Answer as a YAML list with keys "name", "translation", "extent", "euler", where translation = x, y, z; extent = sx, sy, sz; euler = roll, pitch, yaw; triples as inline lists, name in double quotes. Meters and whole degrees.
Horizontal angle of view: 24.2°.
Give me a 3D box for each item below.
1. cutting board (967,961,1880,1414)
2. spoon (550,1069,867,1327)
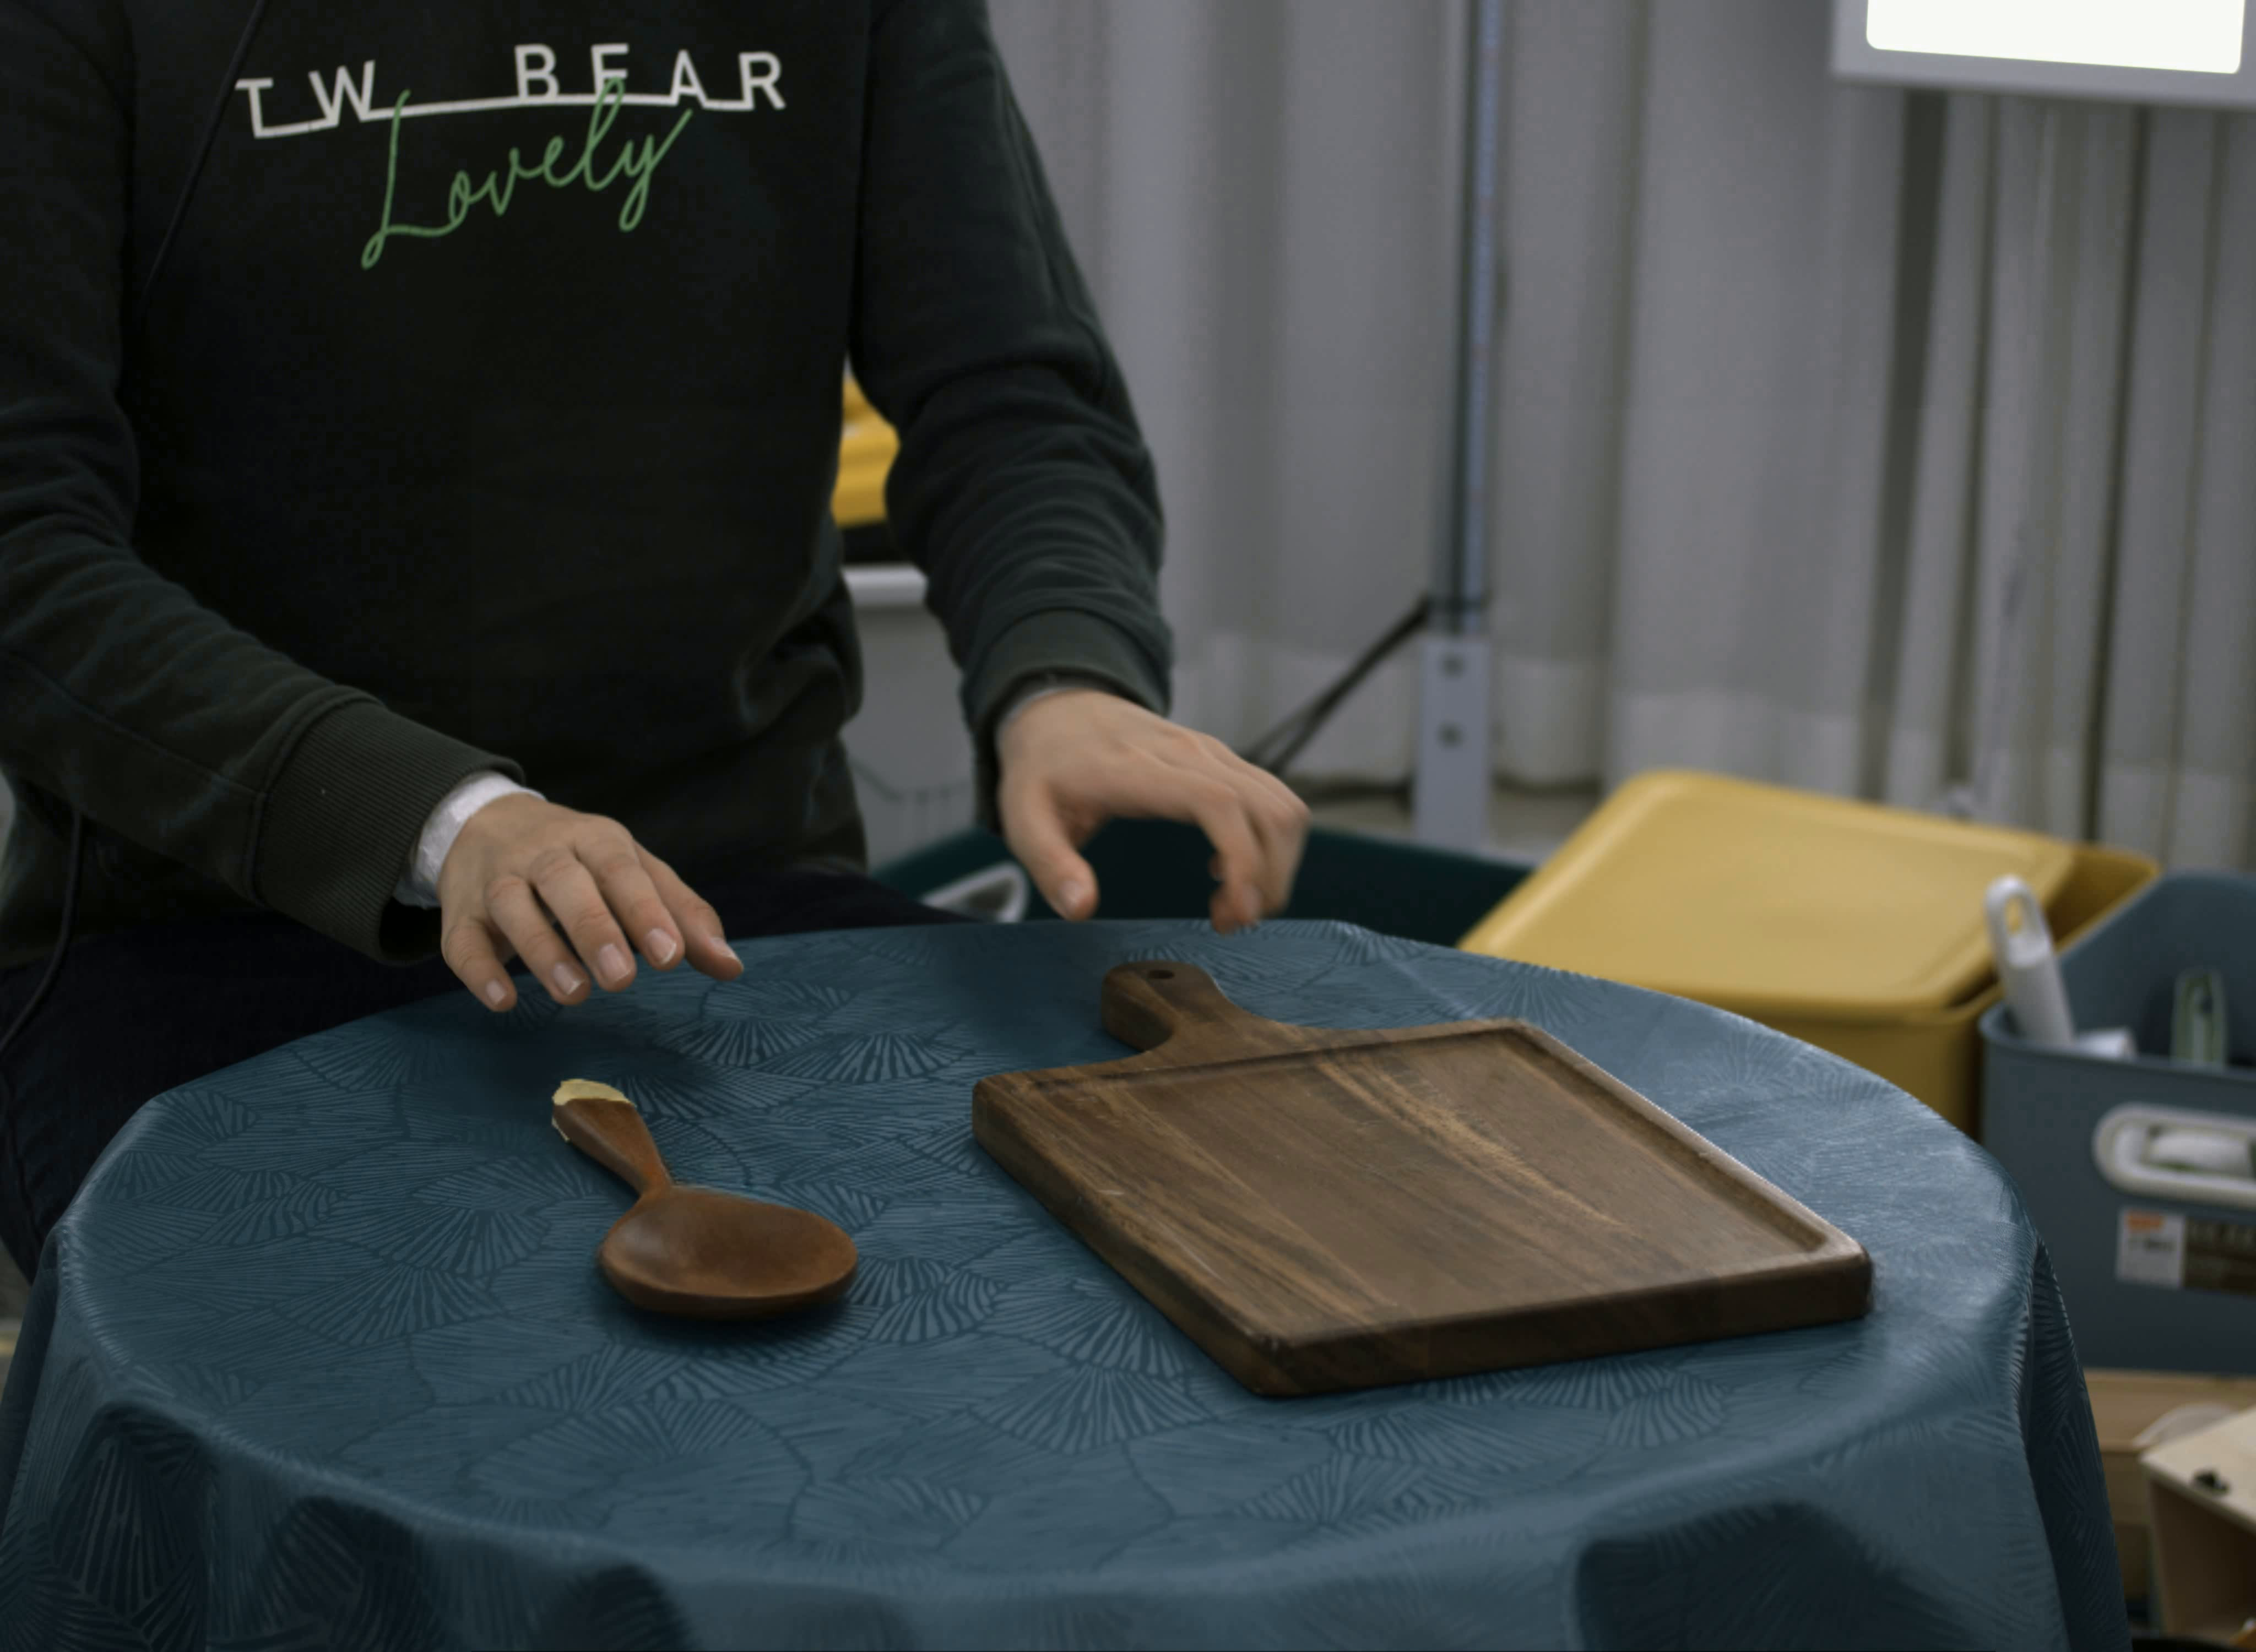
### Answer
- name: "cutting board"
  translation: [0.066, 0.100, 1.642]
  extent: [0.201, 0.023, 0.348]
  euler: [-7, 17, -21]
- name: "spoon"
  translation: [-0.137, 0.112, 1.588]
  extent: [0.075, 0.017, 0.213]
  euler: [-7, 18, -20]
